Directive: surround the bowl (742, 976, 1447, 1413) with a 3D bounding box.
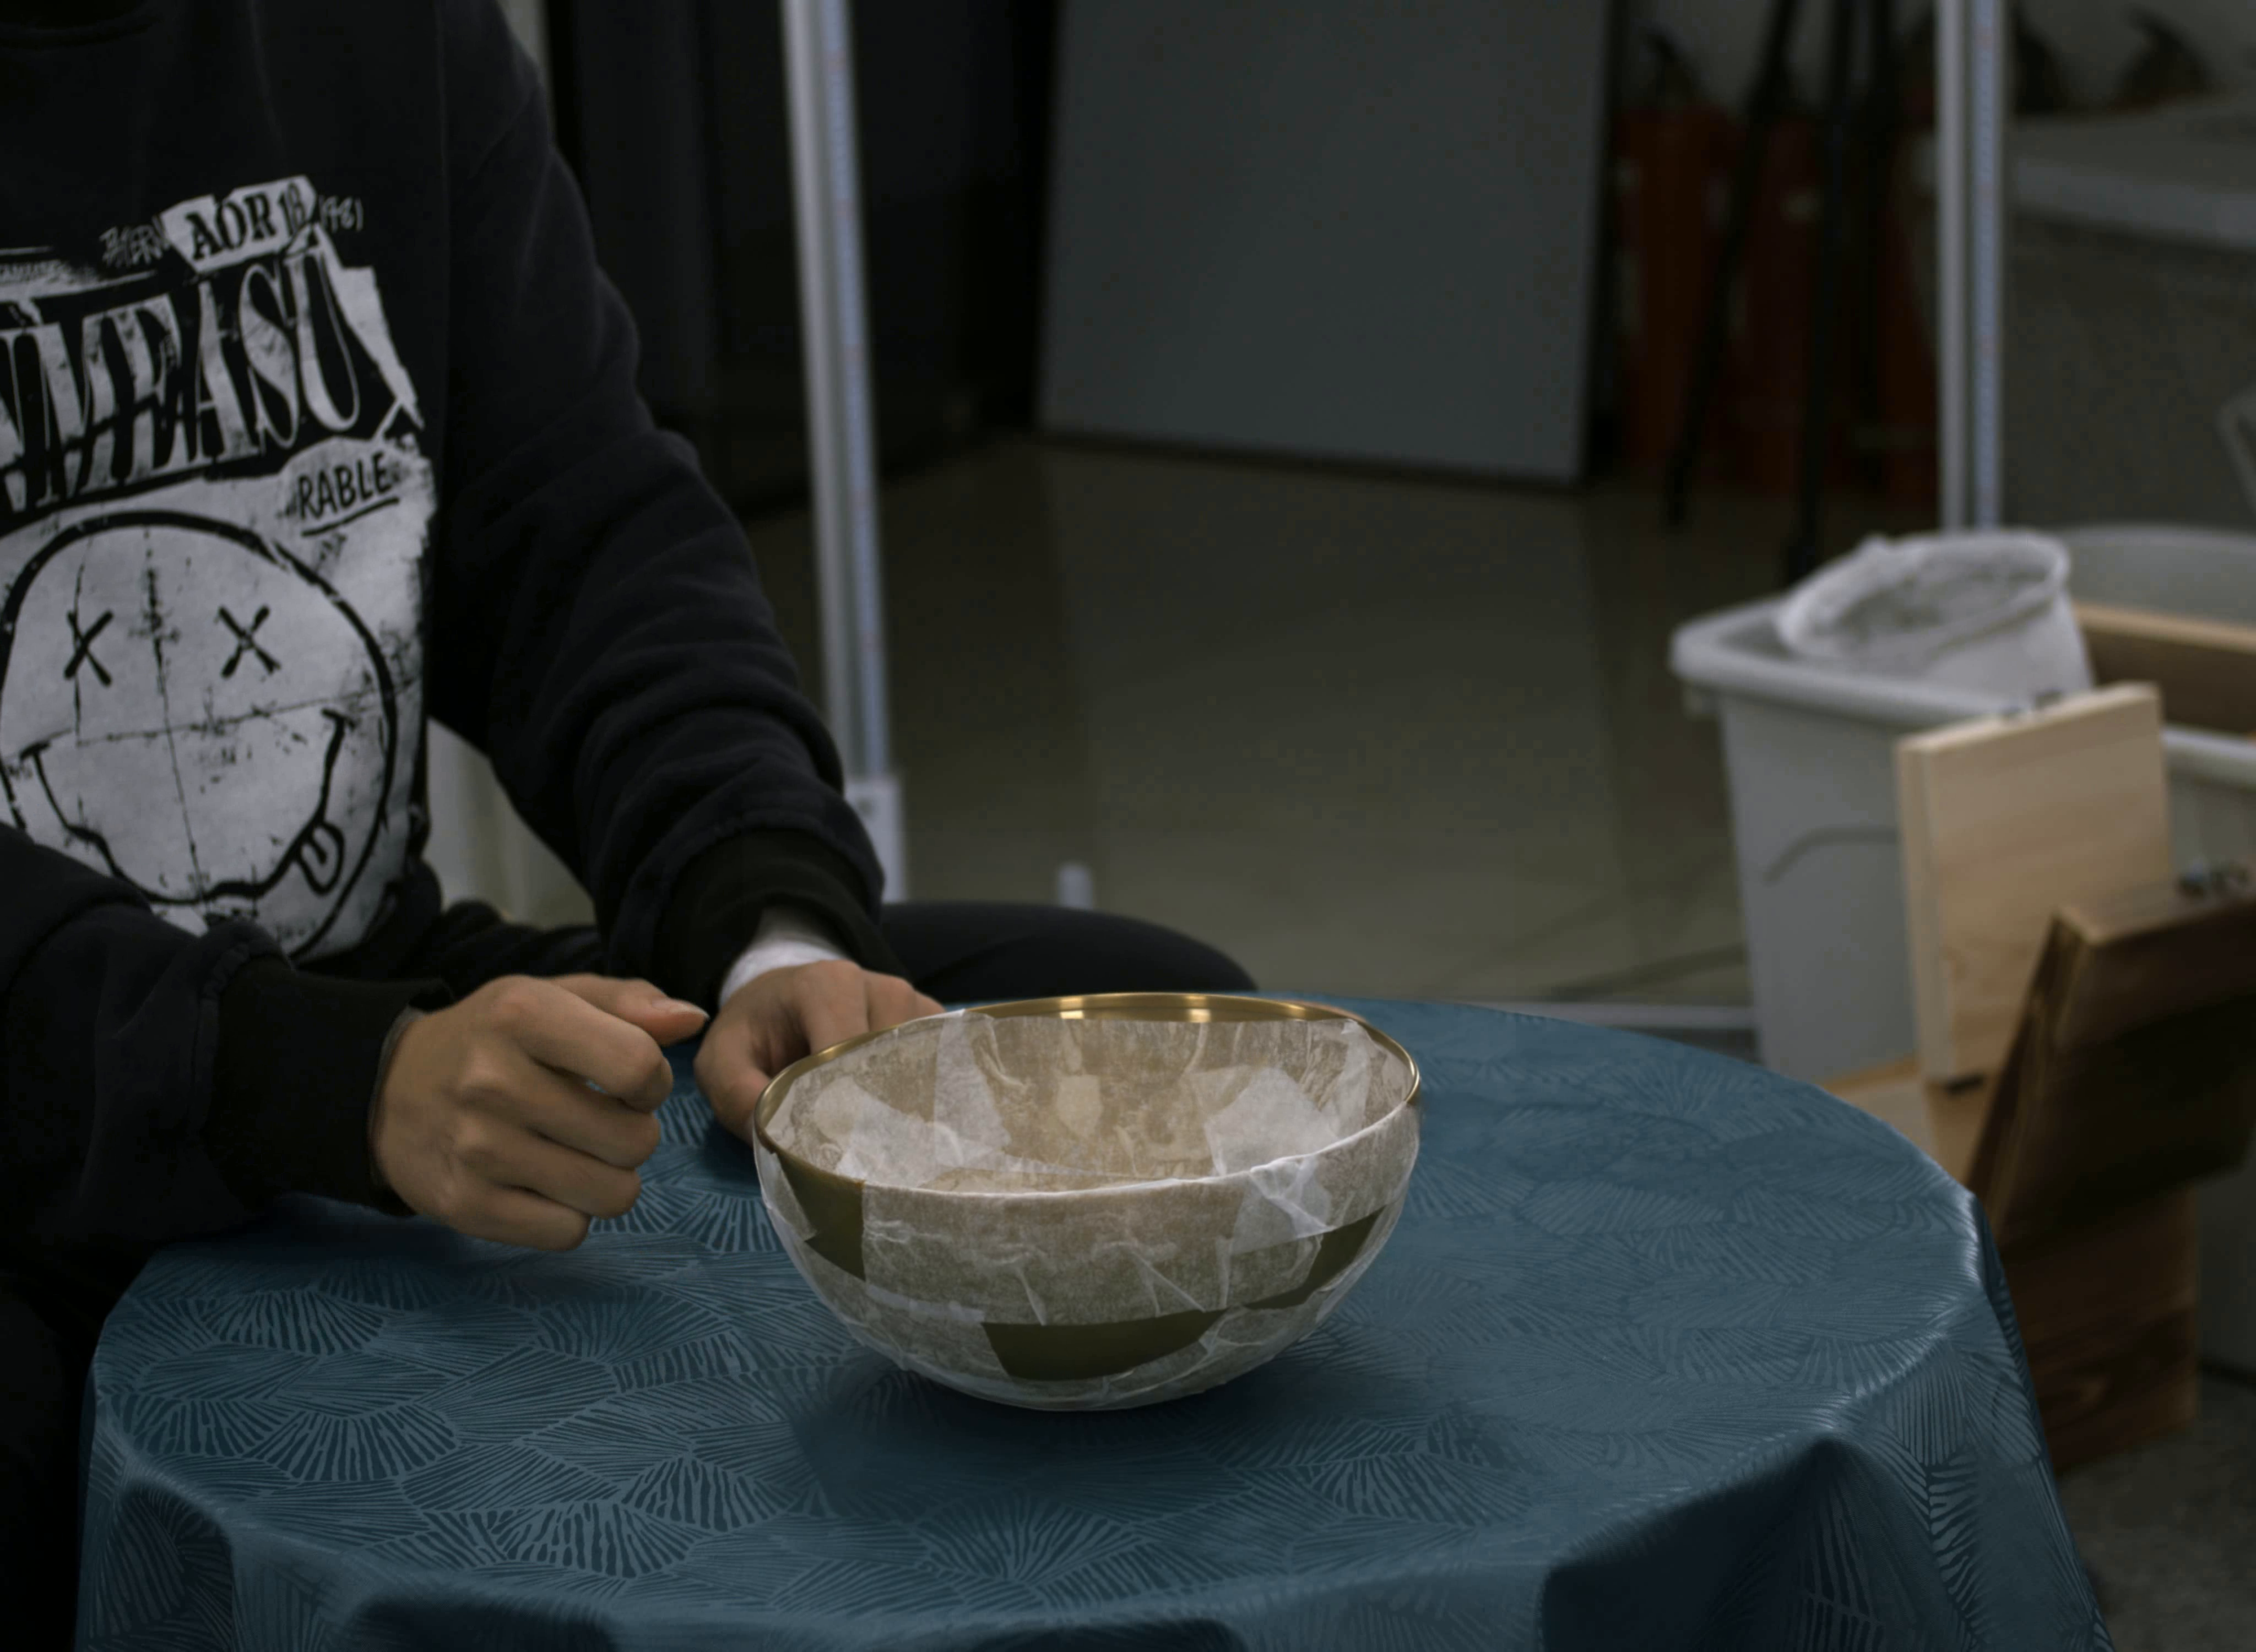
[{"bbox_3d":[-0.008,0.117,1.596,0.212,0.095,0.215,-5,14,0],"label":"bowl"}]

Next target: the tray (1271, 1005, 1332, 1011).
[{"bbox_3d":[0.028,0.100,1.817,0.101,0.020,0.230,-4,16,9],"label":"tray"}]
